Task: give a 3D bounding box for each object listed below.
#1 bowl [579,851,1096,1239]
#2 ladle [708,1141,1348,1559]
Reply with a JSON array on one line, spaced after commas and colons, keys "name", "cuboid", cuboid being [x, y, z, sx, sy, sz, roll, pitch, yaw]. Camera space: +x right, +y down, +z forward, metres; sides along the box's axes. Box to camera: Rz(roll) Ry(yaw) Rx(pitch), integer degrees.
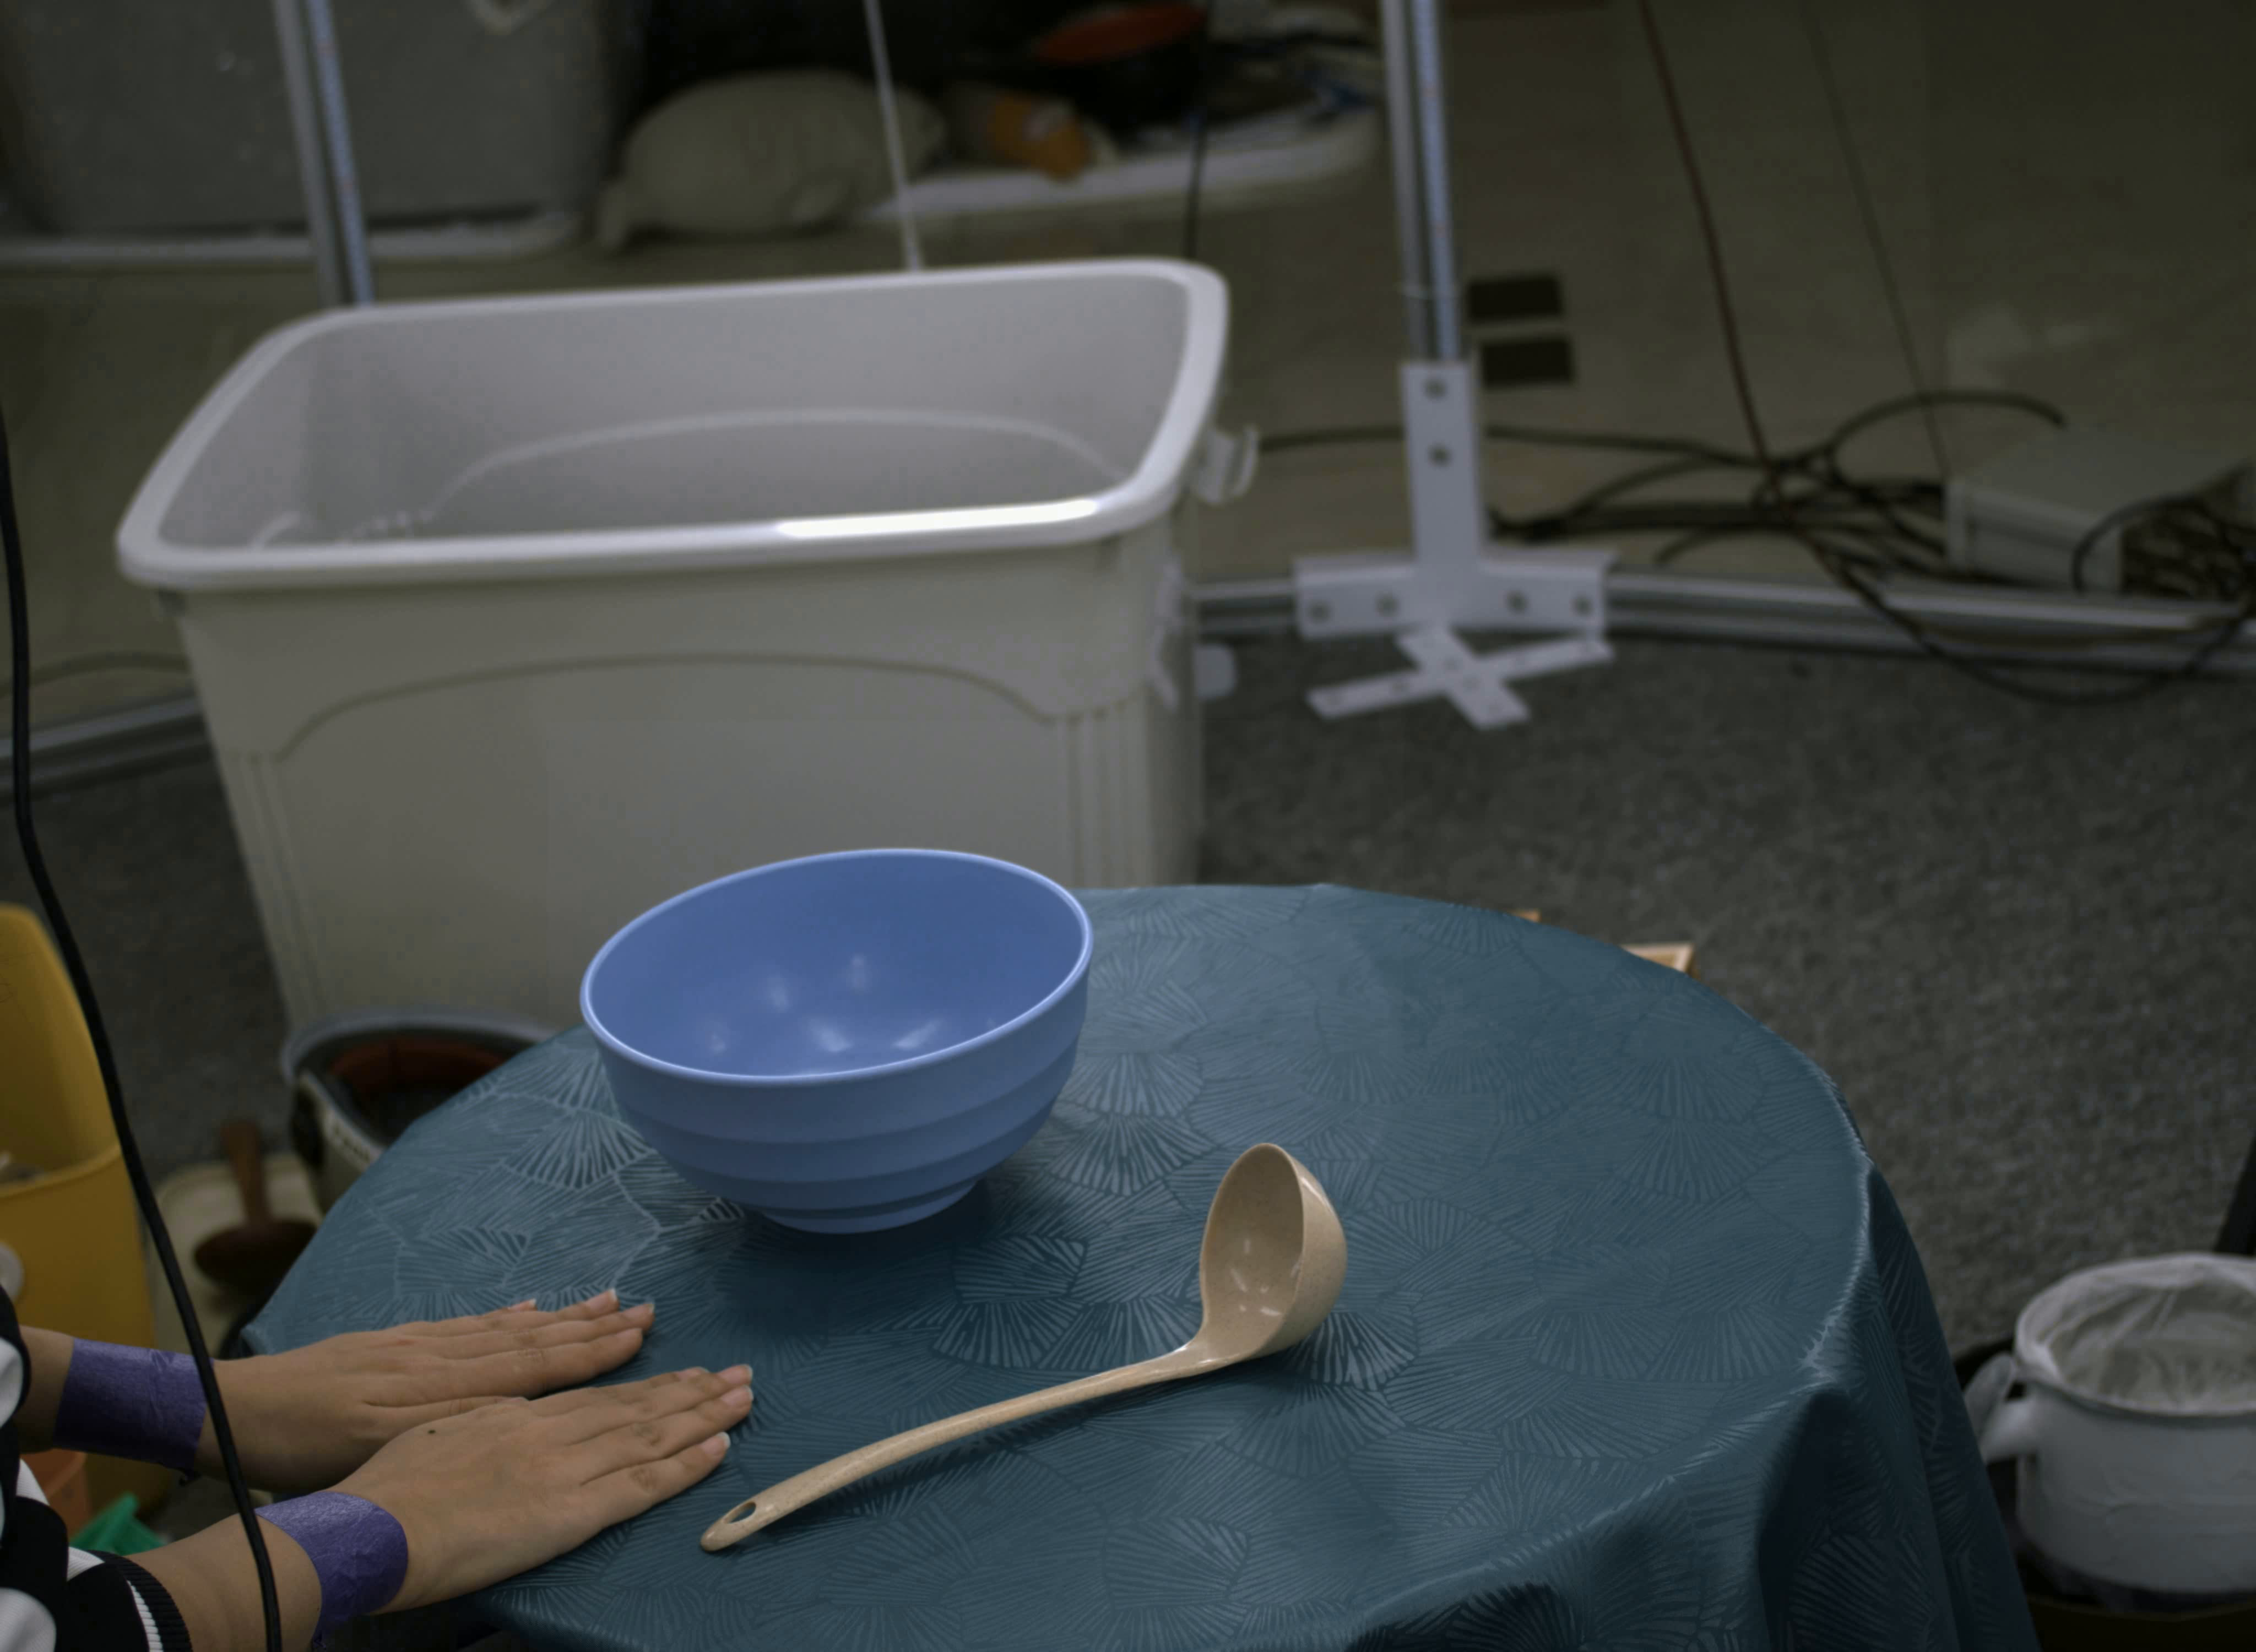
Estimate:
[{"name": "bowl", "cuboid": [-0.107, 0.094, 2.161, 0.196, 0.097, 0.193, -3, 26, 2]}, {"name": "ladle", "cuboid": [-0.040, 0.180, 1.983, 0.253, 0.074, 0.071, -18, 20, -24]}]
